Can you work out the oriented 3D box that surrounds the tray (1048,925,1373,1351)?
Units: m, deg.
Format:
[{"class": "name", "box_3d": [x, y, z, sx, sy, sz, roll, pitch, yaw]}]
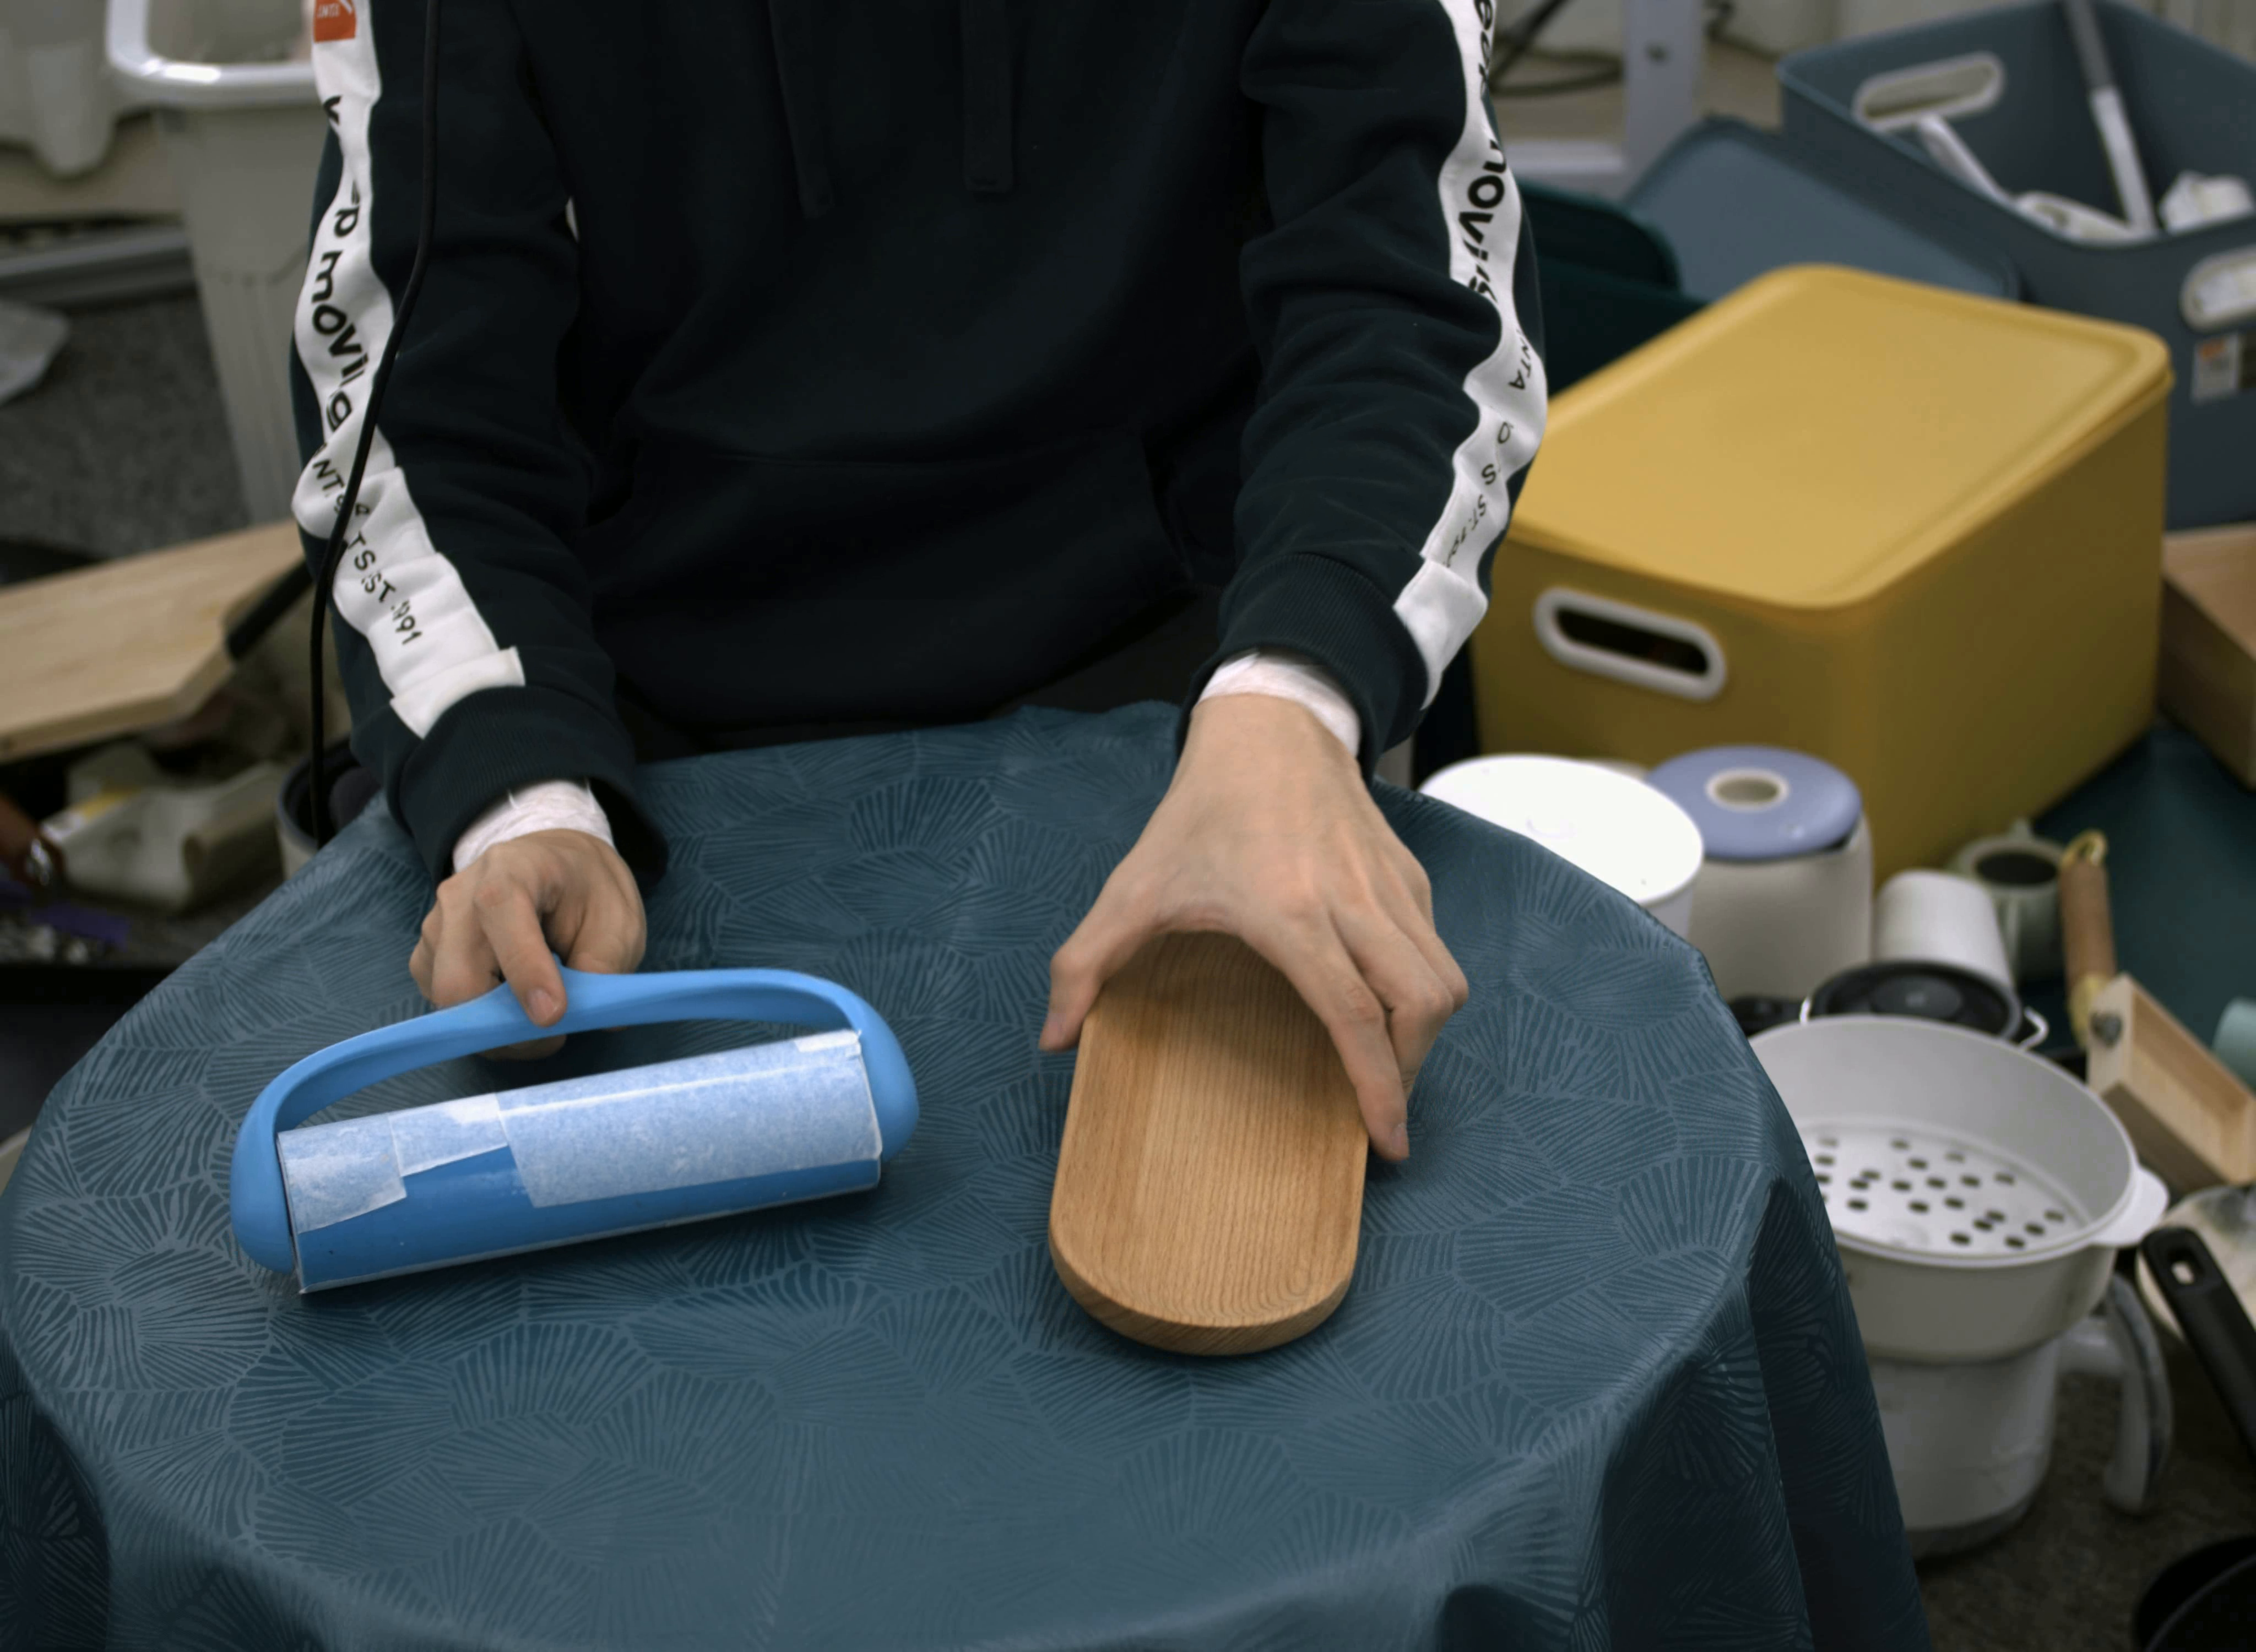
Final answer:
[{"class": "tray", "box_3d": [0.028, 0.101, 1.860, 0.101, 0.020, 0.235, 7, 30, 0]}]

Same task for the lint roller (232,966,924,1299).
[{"class": "lint roller", "box_3d": [-0.195, 0.083, 1.888, 0.229, 0.067, 0.182, -12, 30, -13]}]
